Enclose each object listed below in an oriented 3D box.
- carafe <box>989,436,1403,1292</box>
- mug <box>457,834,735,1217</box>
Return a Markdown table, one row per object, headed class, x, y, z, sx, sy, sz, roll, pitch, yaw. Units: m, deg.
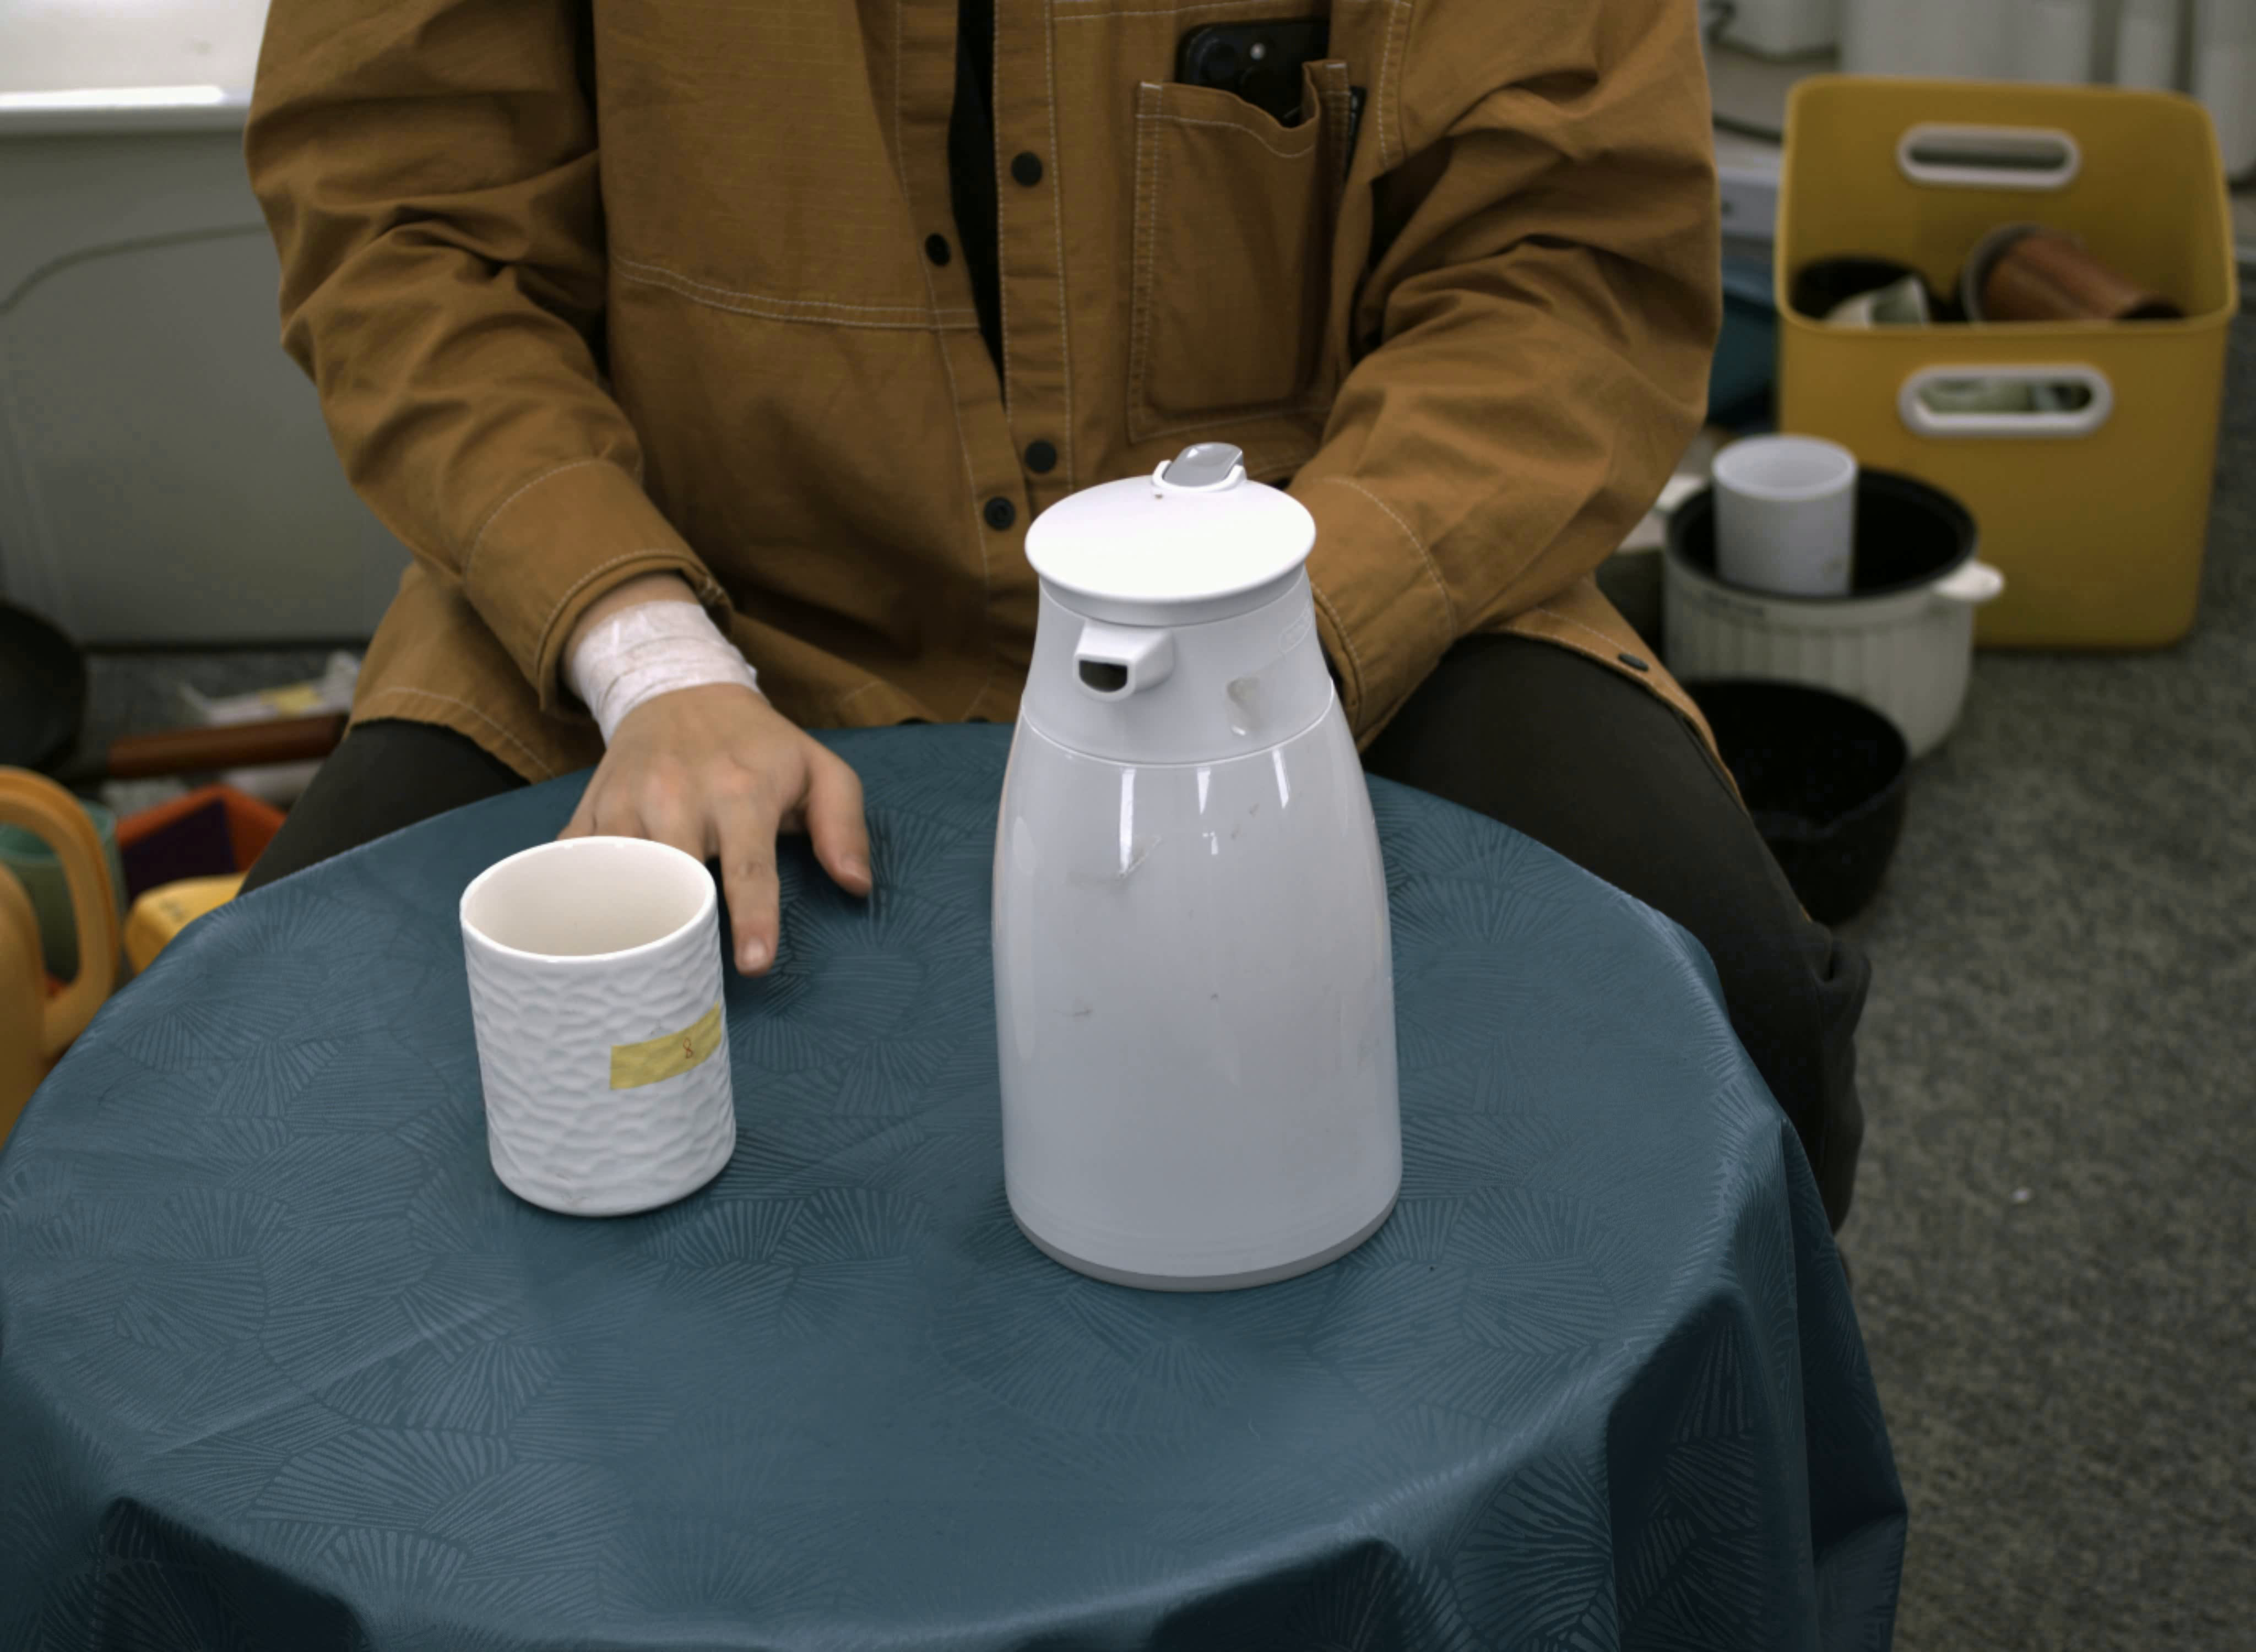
| class | x | y | z | sx | sy | sz | roll | pitch | yaw |
| --- | --- | --- | --- | --- | --- | --- | --- | --- | --- |
| carafe | 0.023 | 0.001 | 1.823 | 0.131 | 0.246 | 0.170 | 5 | 27 | 18 |
| mug | -0.182 | 0.061 | 1.883 | 0.085 | 0.101 | 0.119 | -13 | 28 | -19 |
